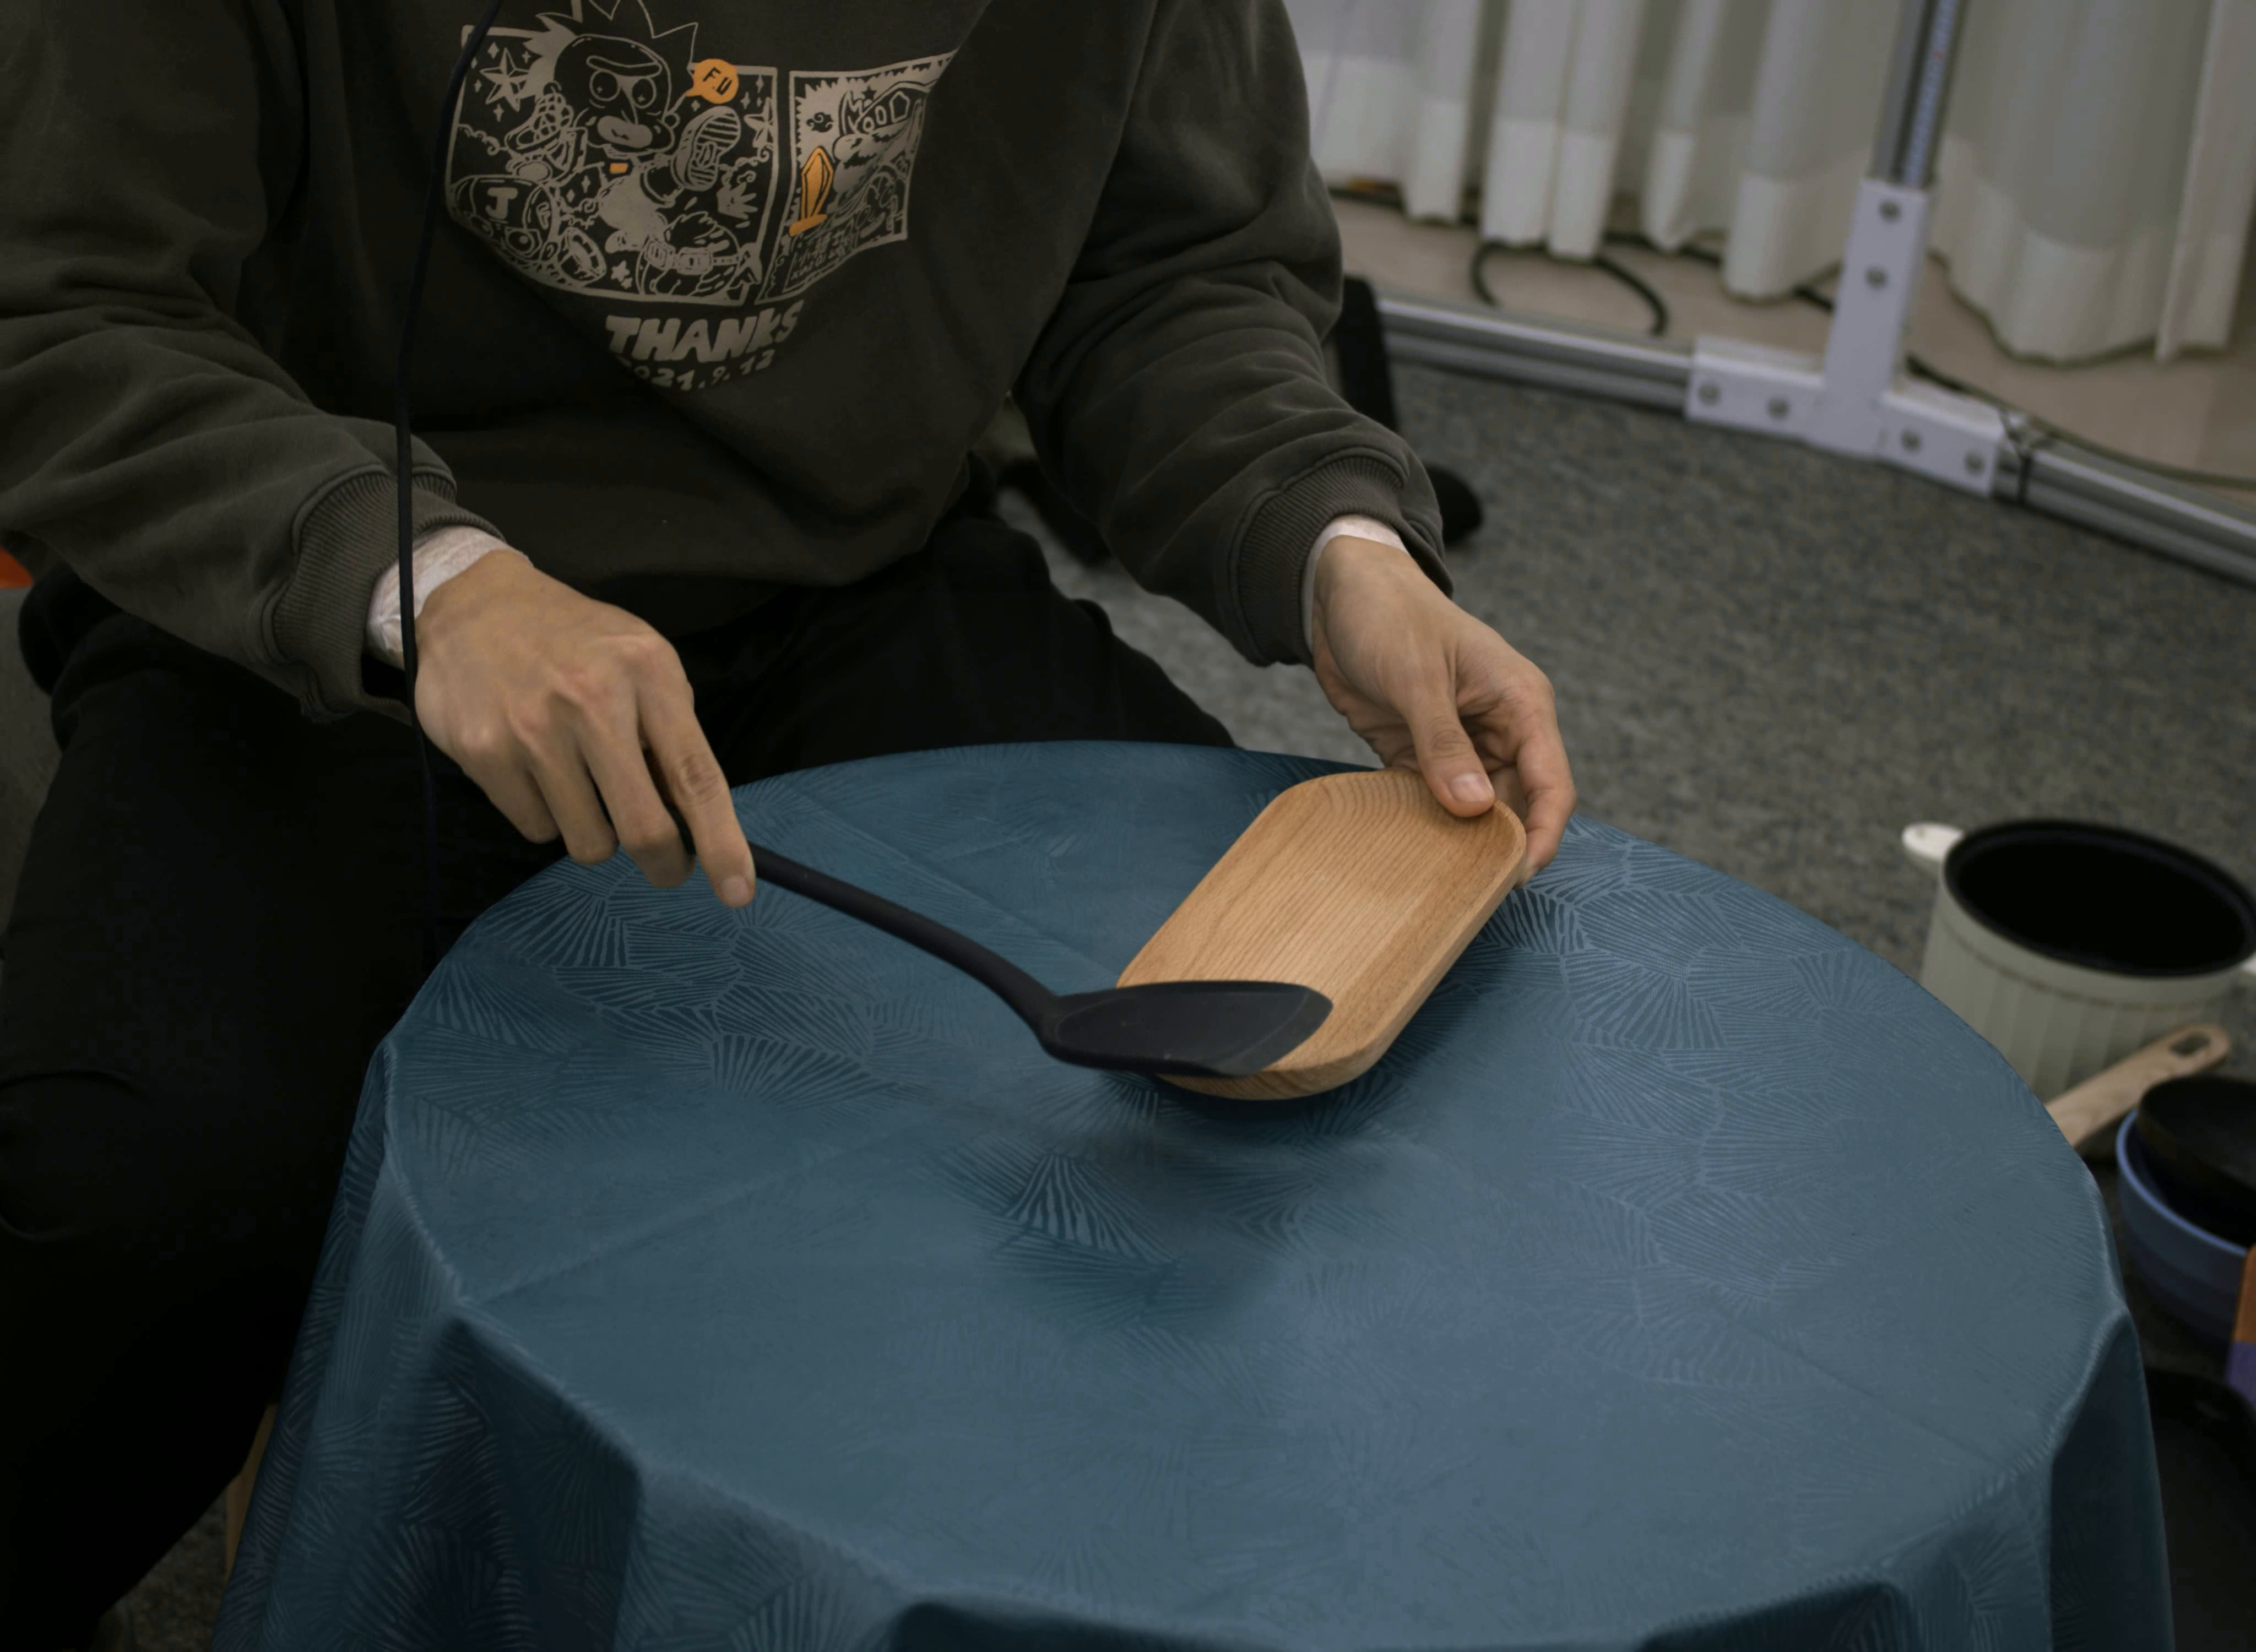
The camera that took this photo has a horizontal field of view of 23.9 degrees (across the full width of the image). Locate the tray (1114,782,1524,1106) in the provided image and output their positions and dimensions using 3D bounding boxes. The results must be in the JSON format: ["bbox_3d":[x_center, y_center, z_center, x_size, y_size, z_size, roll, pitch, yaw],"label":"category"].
[{"bbox_3d":[0.071,0.041,1.939,0.102,0.020,0.231,11,31,21],"label":"tray"}]

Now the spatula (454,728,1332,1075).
[{"bbox_3d":[-0.089,0.022,1.829,0.327,0.040,0.099,25,20,15],"label":"spatula"}]
